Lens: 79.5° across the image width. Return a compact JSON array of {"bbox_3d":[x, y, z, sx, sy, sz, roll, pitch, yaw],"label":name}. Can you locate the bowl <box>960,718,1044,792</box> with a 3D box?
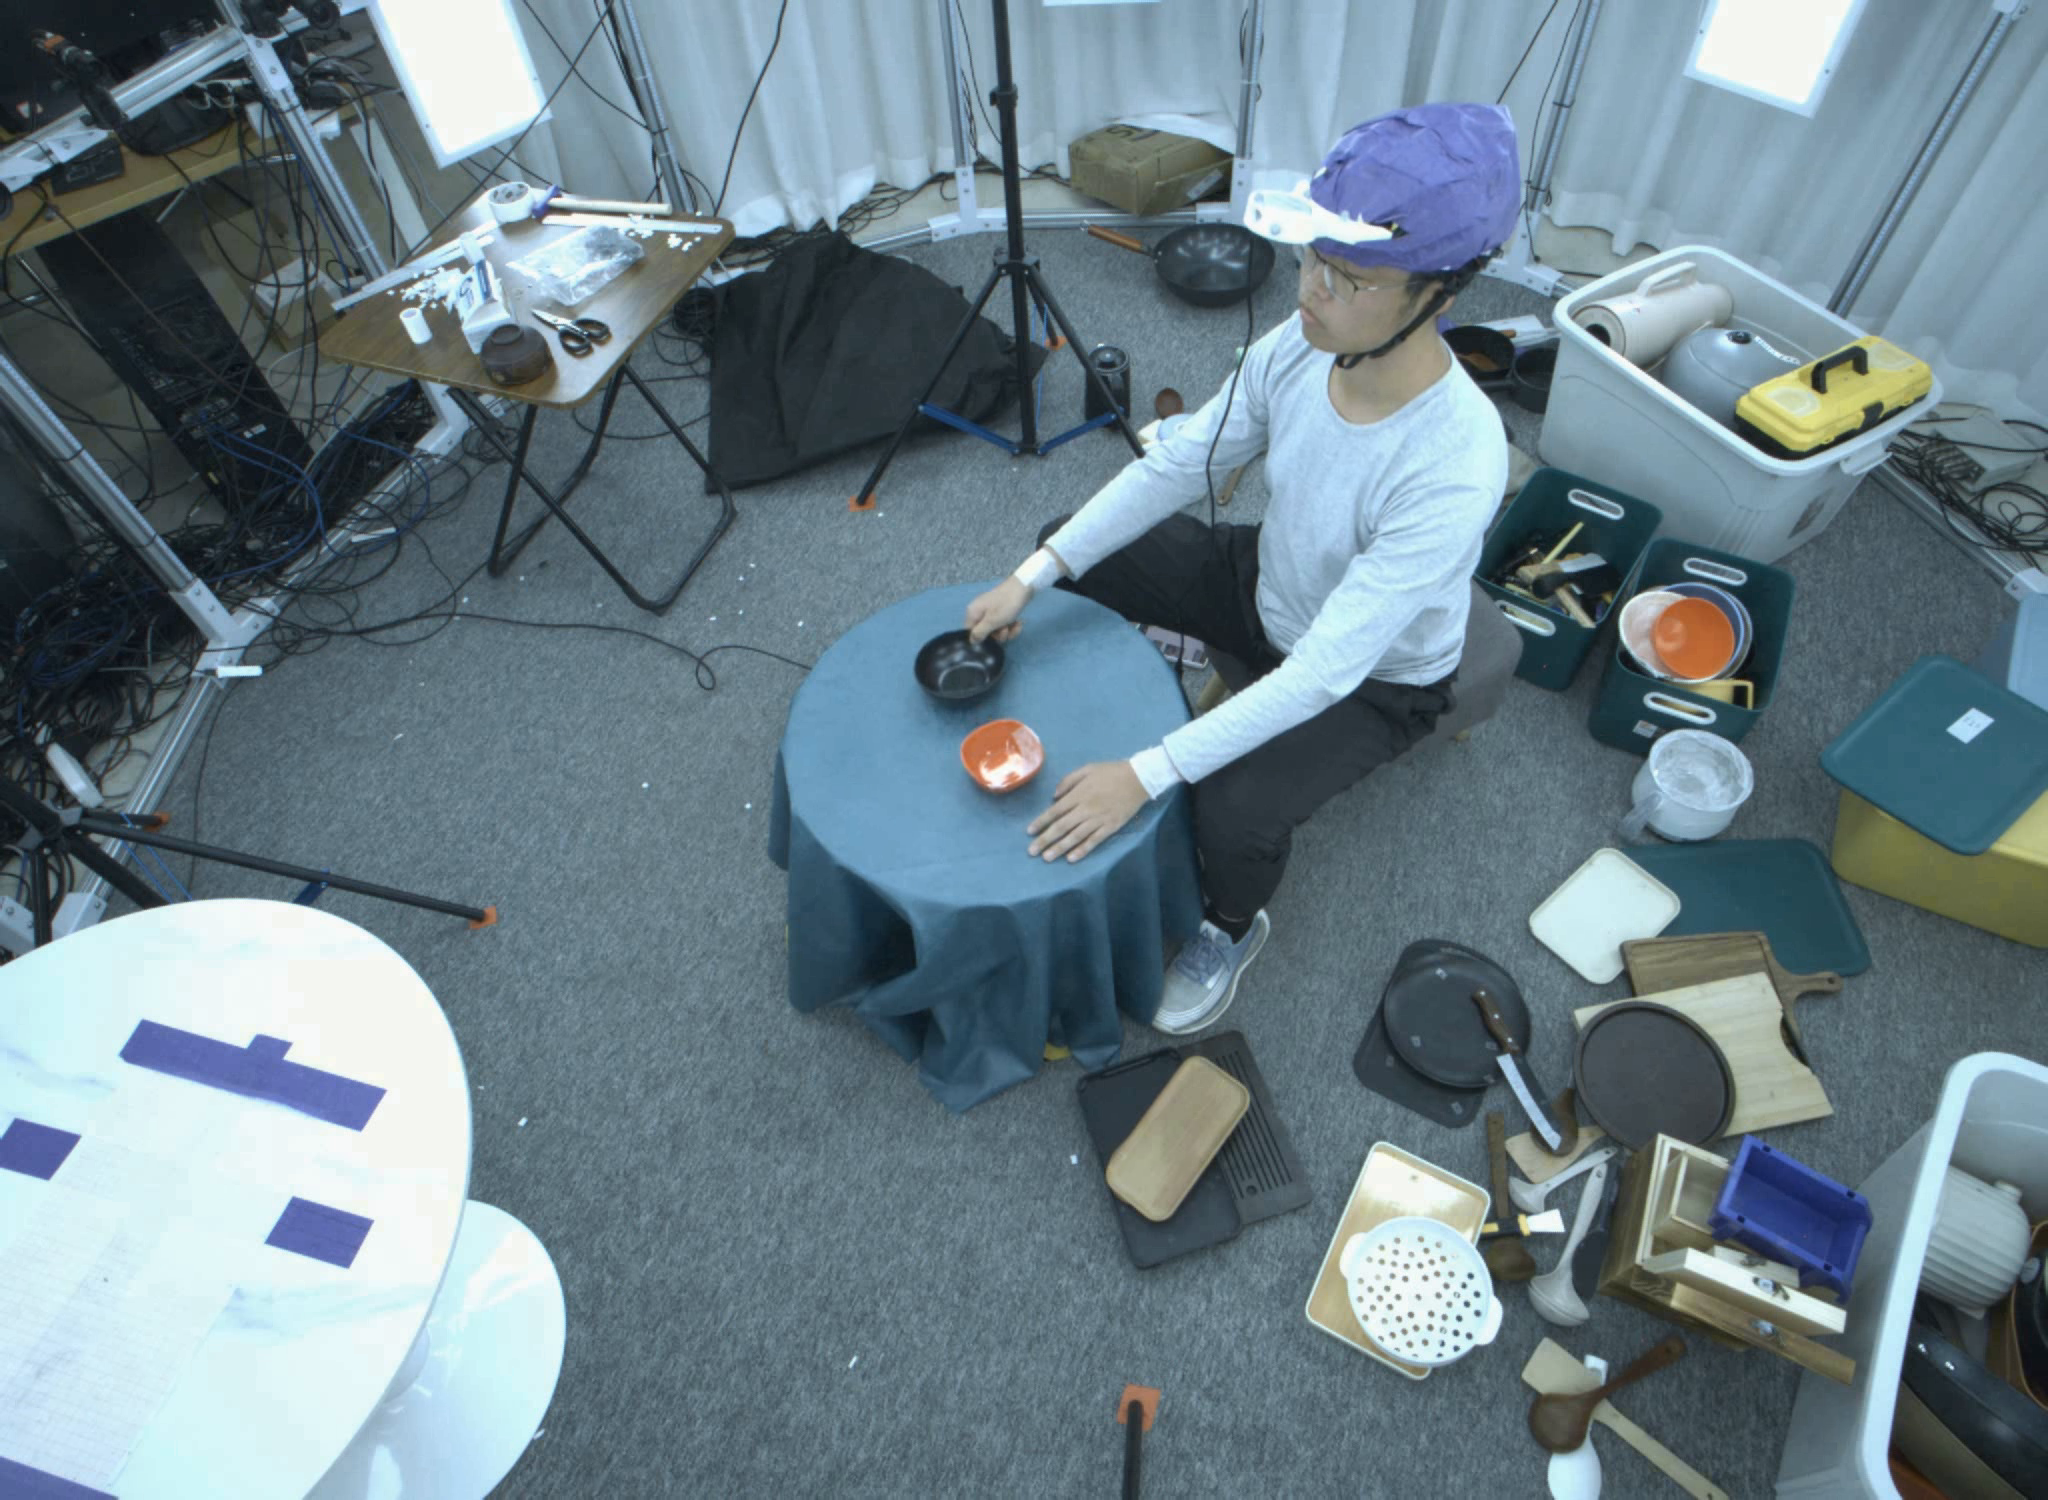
[{"bbox_3d":[-0.029,0.015,1.751,0.118,0.052,0.117,-2,55,4],"label":"bowl"}]

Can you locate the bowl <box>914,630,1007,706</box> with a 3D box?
[{"bbox_3d":[-0.094,-0.115,1.846,0.140,0.050,0.138,-1,51,2],"label":"bowl"}]
